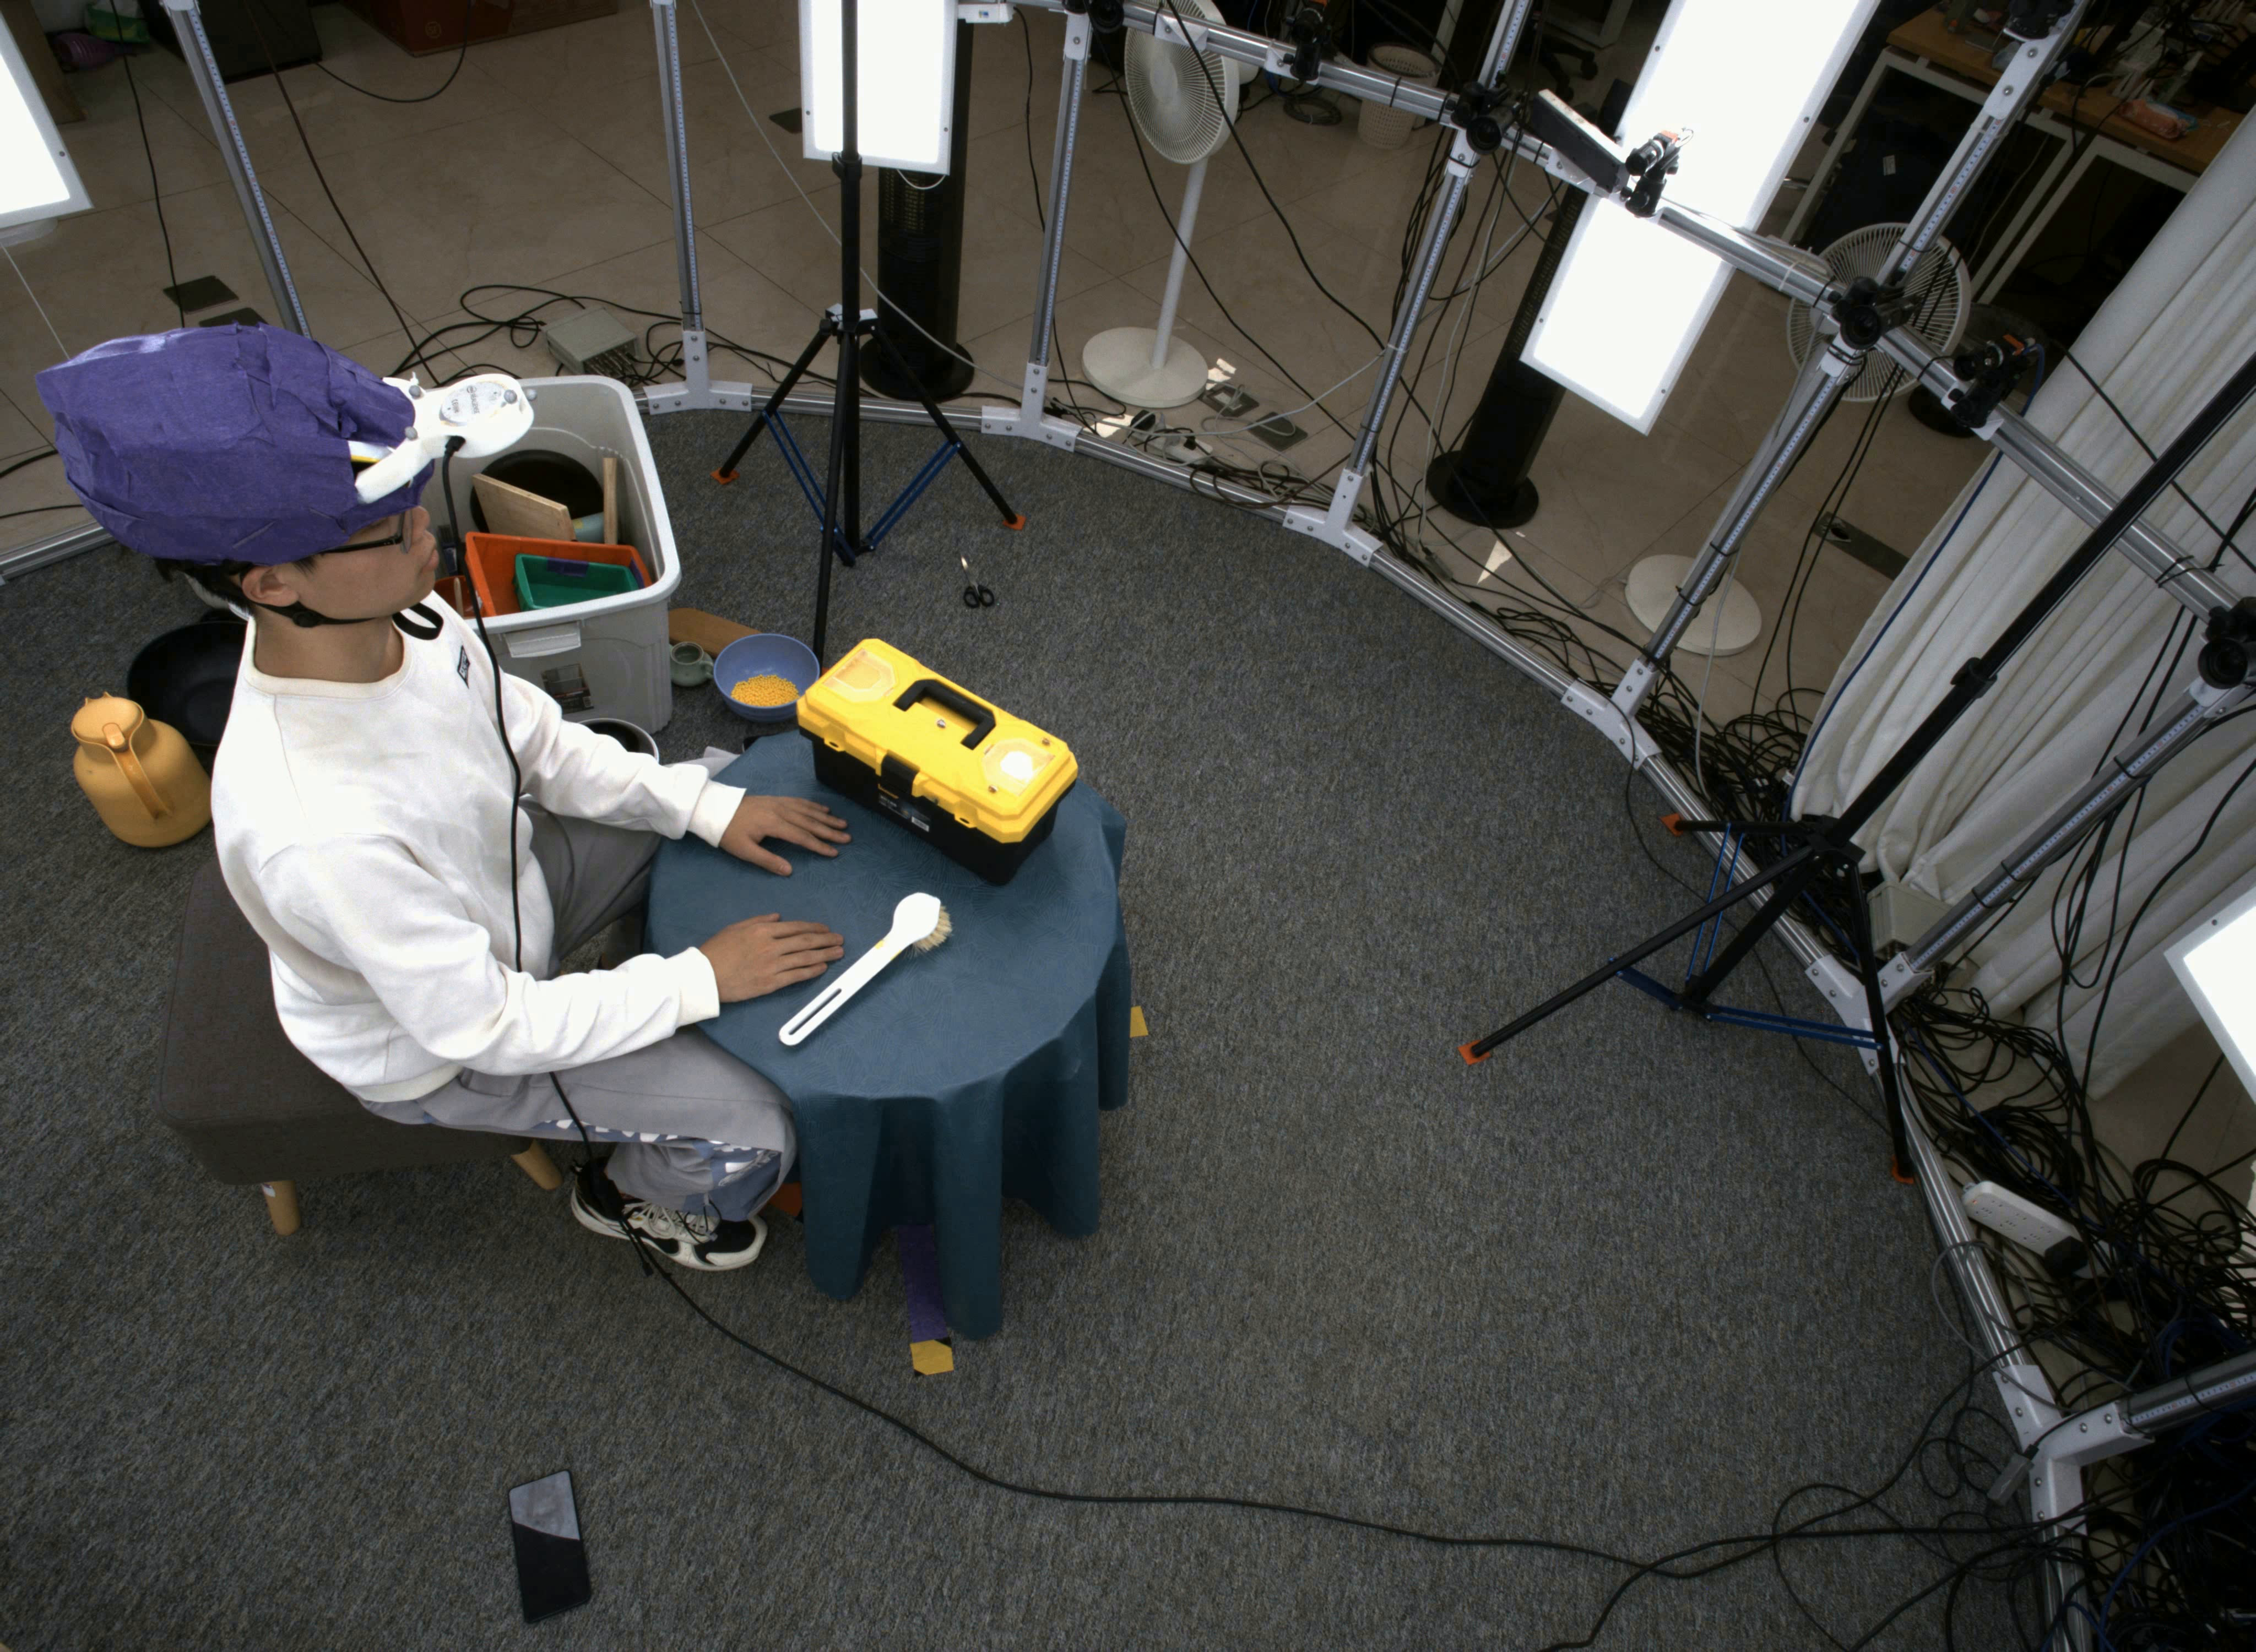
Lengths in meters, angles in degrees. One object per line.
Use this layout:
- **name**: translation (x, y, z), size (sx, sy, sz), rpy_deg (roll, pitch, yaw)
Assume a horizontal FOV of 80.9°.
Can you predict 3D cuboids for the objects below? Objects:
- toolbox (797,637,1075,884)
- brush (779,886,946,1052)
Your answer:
- **toolbox**: translation (-0.257, -0.084, 1.725), size (0.345, 0.176, 0.181), rpy_deg (29, 52, 11)
- **brush**: translation (-0.328, 0.183, 1.613), size (0.066, 0.058, 0.266), rpy_deg (26, 65, 34)
